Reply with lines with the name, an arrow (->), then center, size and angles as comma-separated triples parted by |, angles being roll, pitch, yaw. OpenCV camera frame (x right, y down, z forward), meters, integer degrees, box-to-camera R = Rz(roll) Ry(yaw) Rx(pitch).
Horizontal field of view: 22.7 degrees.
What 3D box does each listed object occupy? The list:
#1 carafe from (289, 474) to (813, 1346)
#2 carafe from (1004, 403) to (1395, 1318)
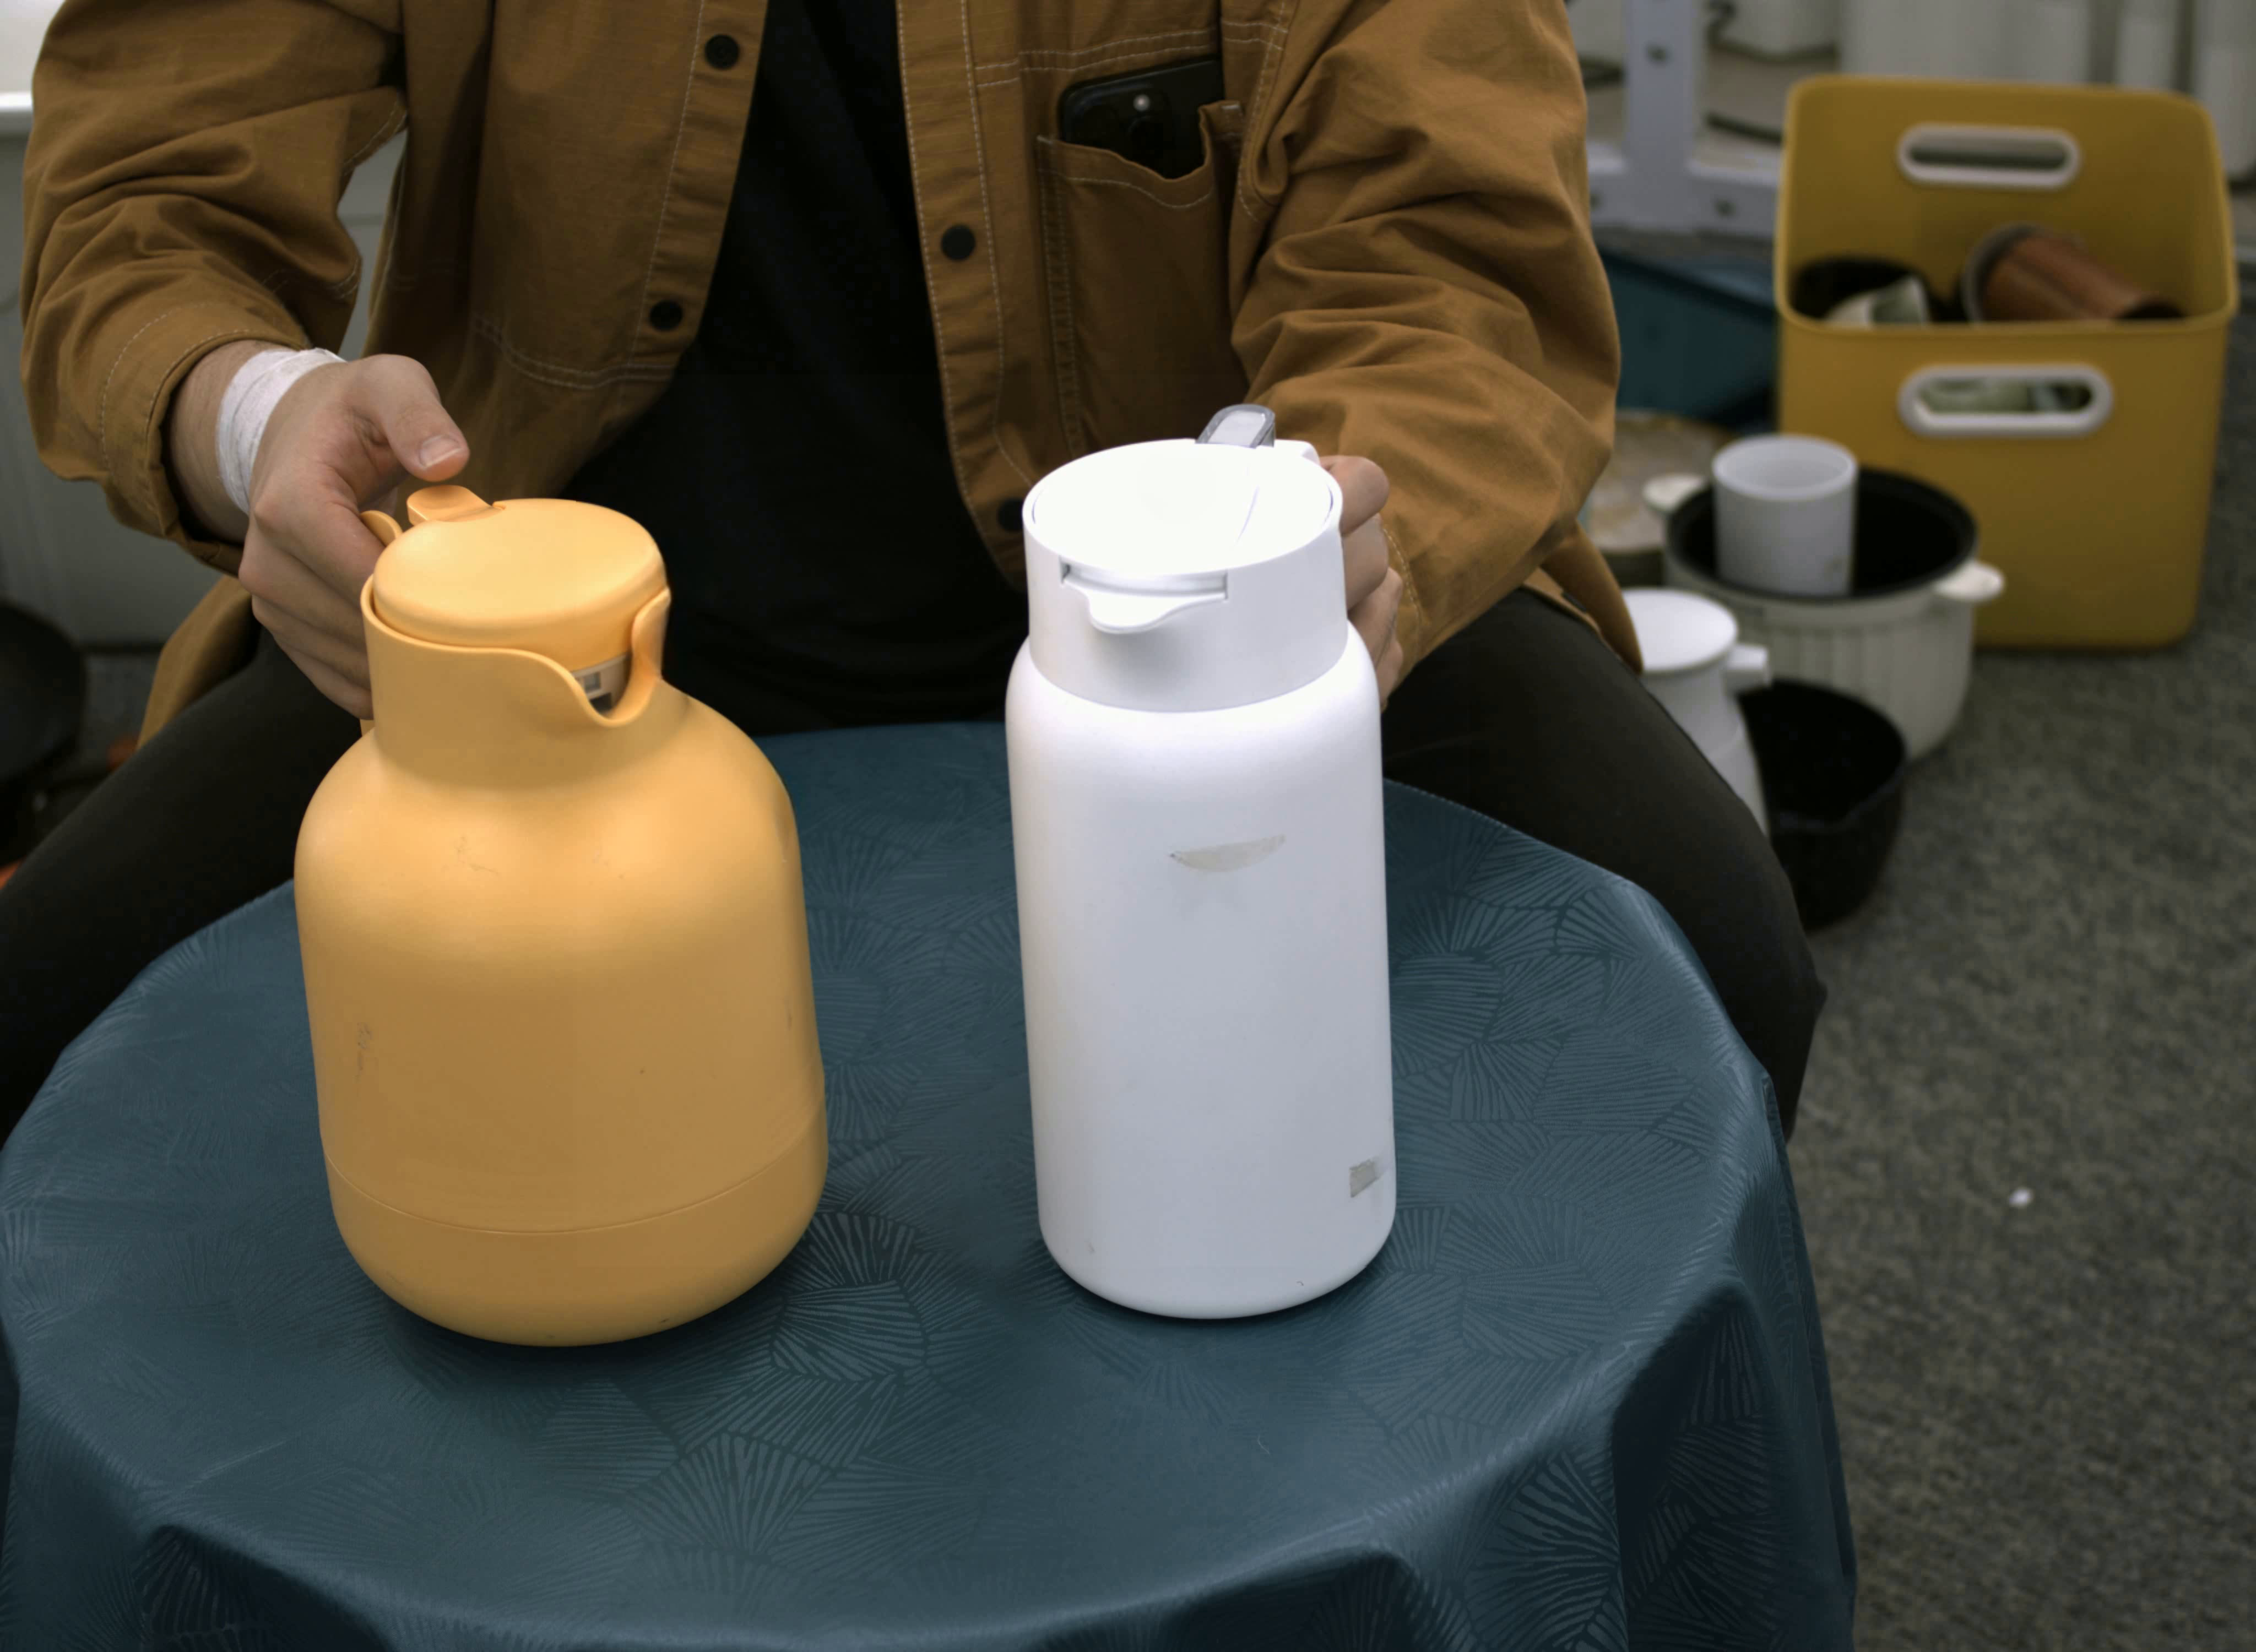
carafe -> -0.192, 0.017, 1.798 | 0.164, 0.258, 0.203 | -13, 29, -25
carafe -> 0.026, 0.007, 1.790 | 0.123, 0.266, 0.176 | 3, 27, 17
